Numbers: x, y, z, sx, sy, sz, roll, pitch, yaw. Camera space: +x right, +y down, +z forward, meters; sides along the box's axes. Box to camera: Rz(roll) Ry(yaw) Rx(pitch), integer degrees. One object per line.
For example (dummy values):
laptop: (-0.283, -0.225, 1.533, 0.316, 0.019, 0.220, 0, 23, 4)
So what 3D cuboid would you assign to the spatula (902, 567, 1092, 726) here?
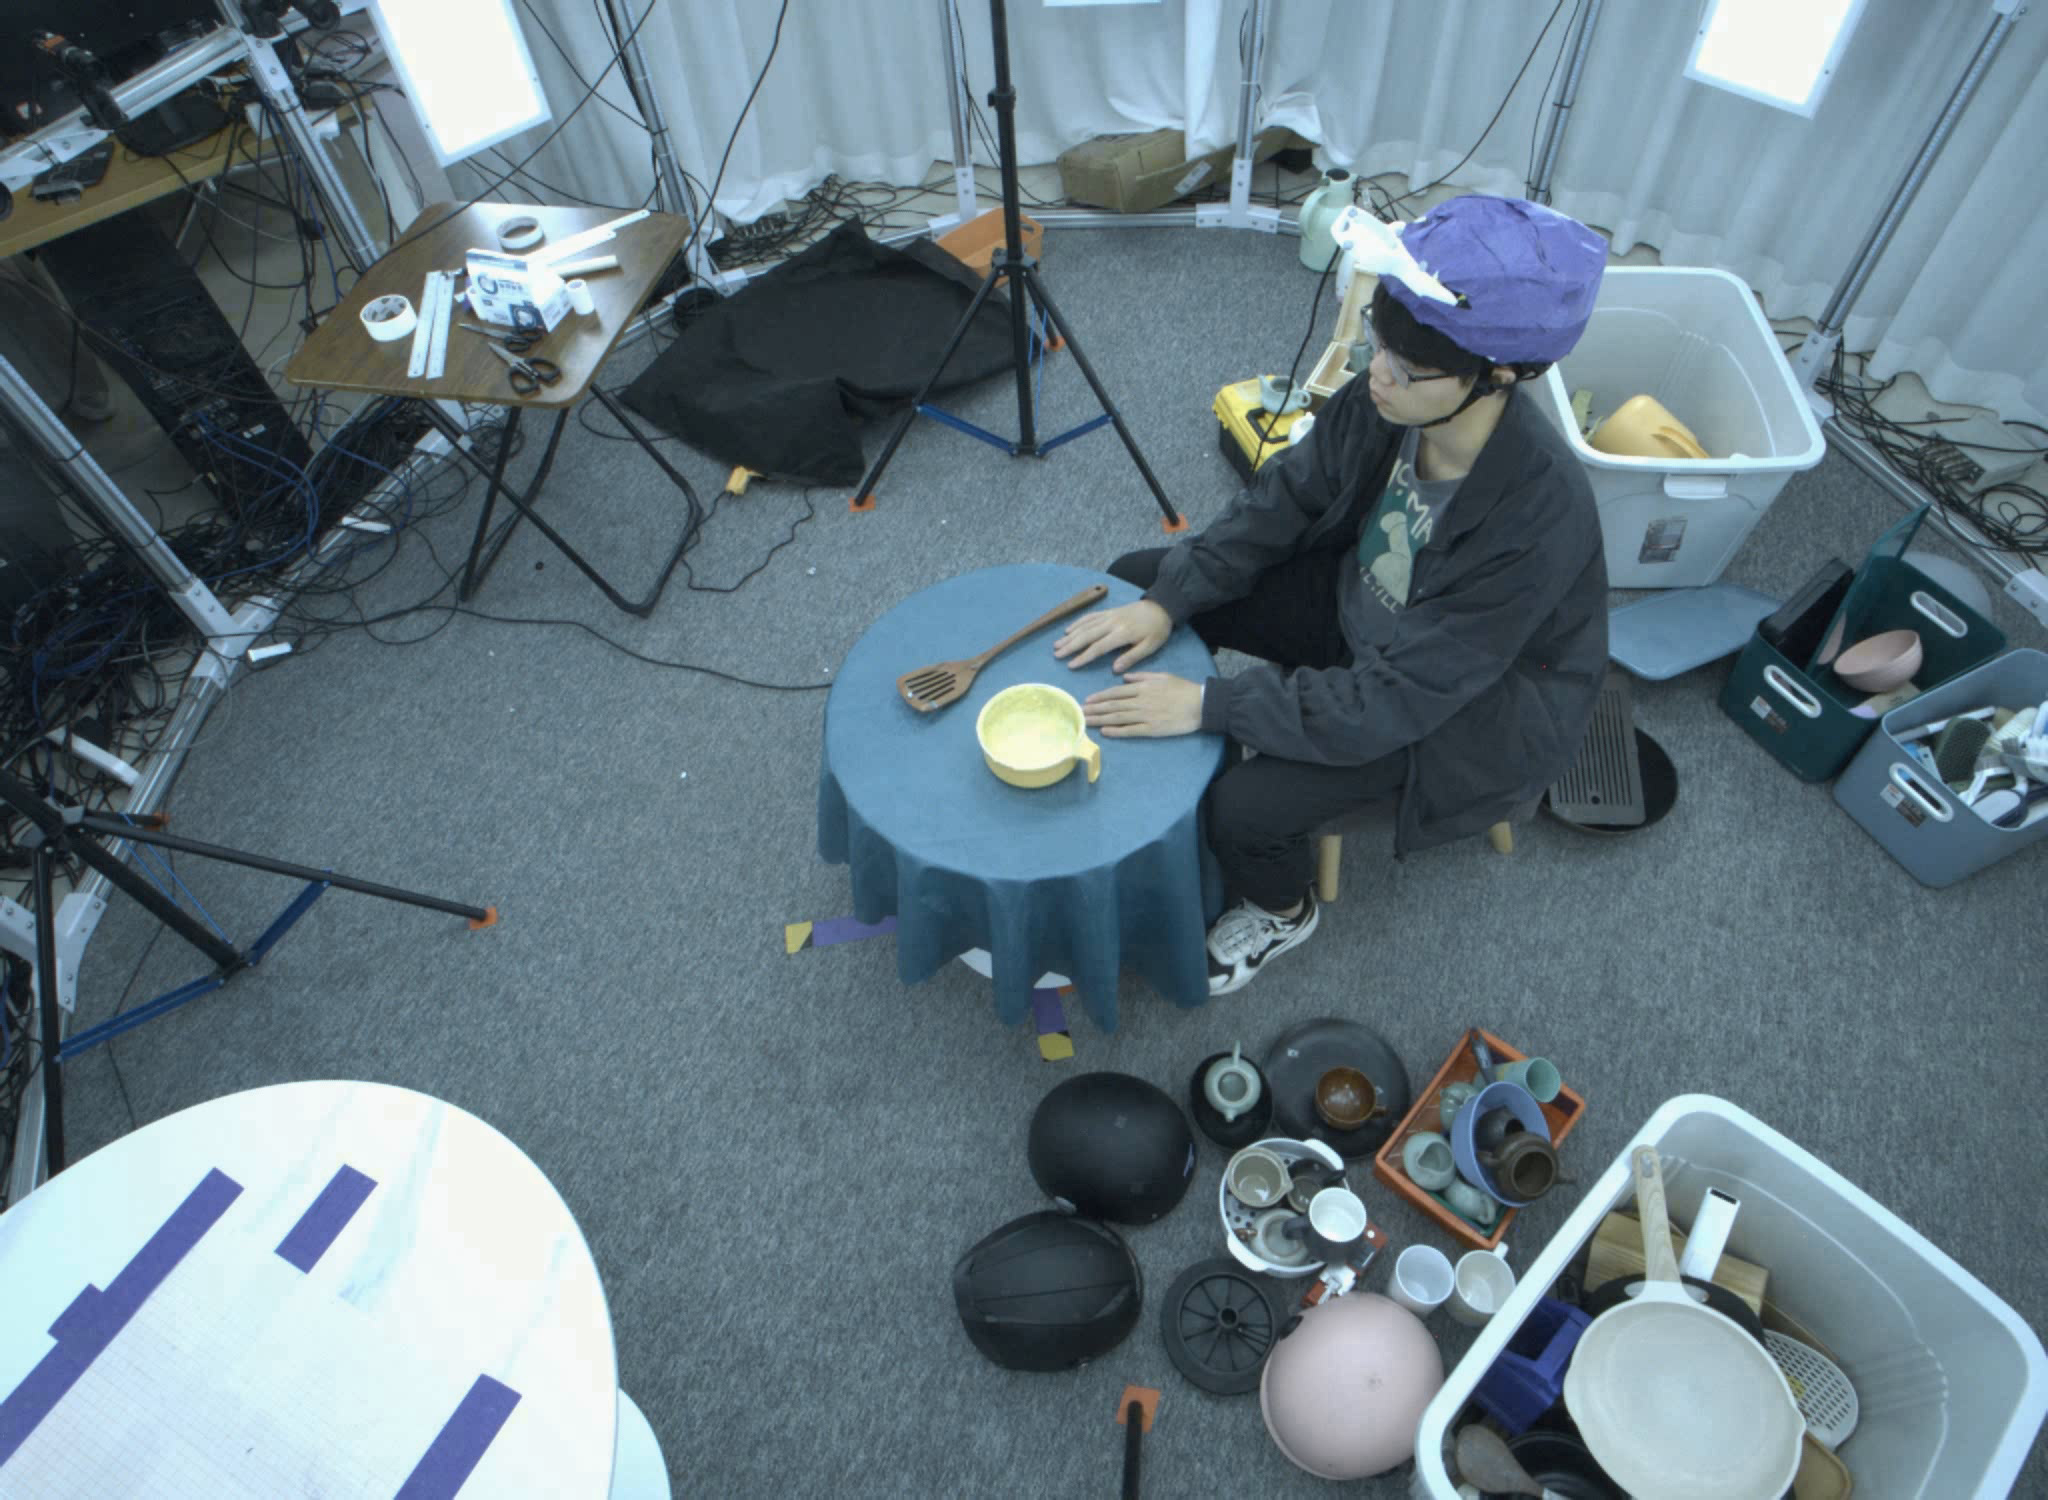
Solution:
spatula: (-0.029, -0.169, 1.896, 0.084, 0.024, 0.389, 41, 67, 17)

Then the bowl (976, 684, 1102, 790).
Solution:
bowl: (0.024, -0.008, 1.745, 0.177, 0.075, 0.153, 18, 58, 14)
